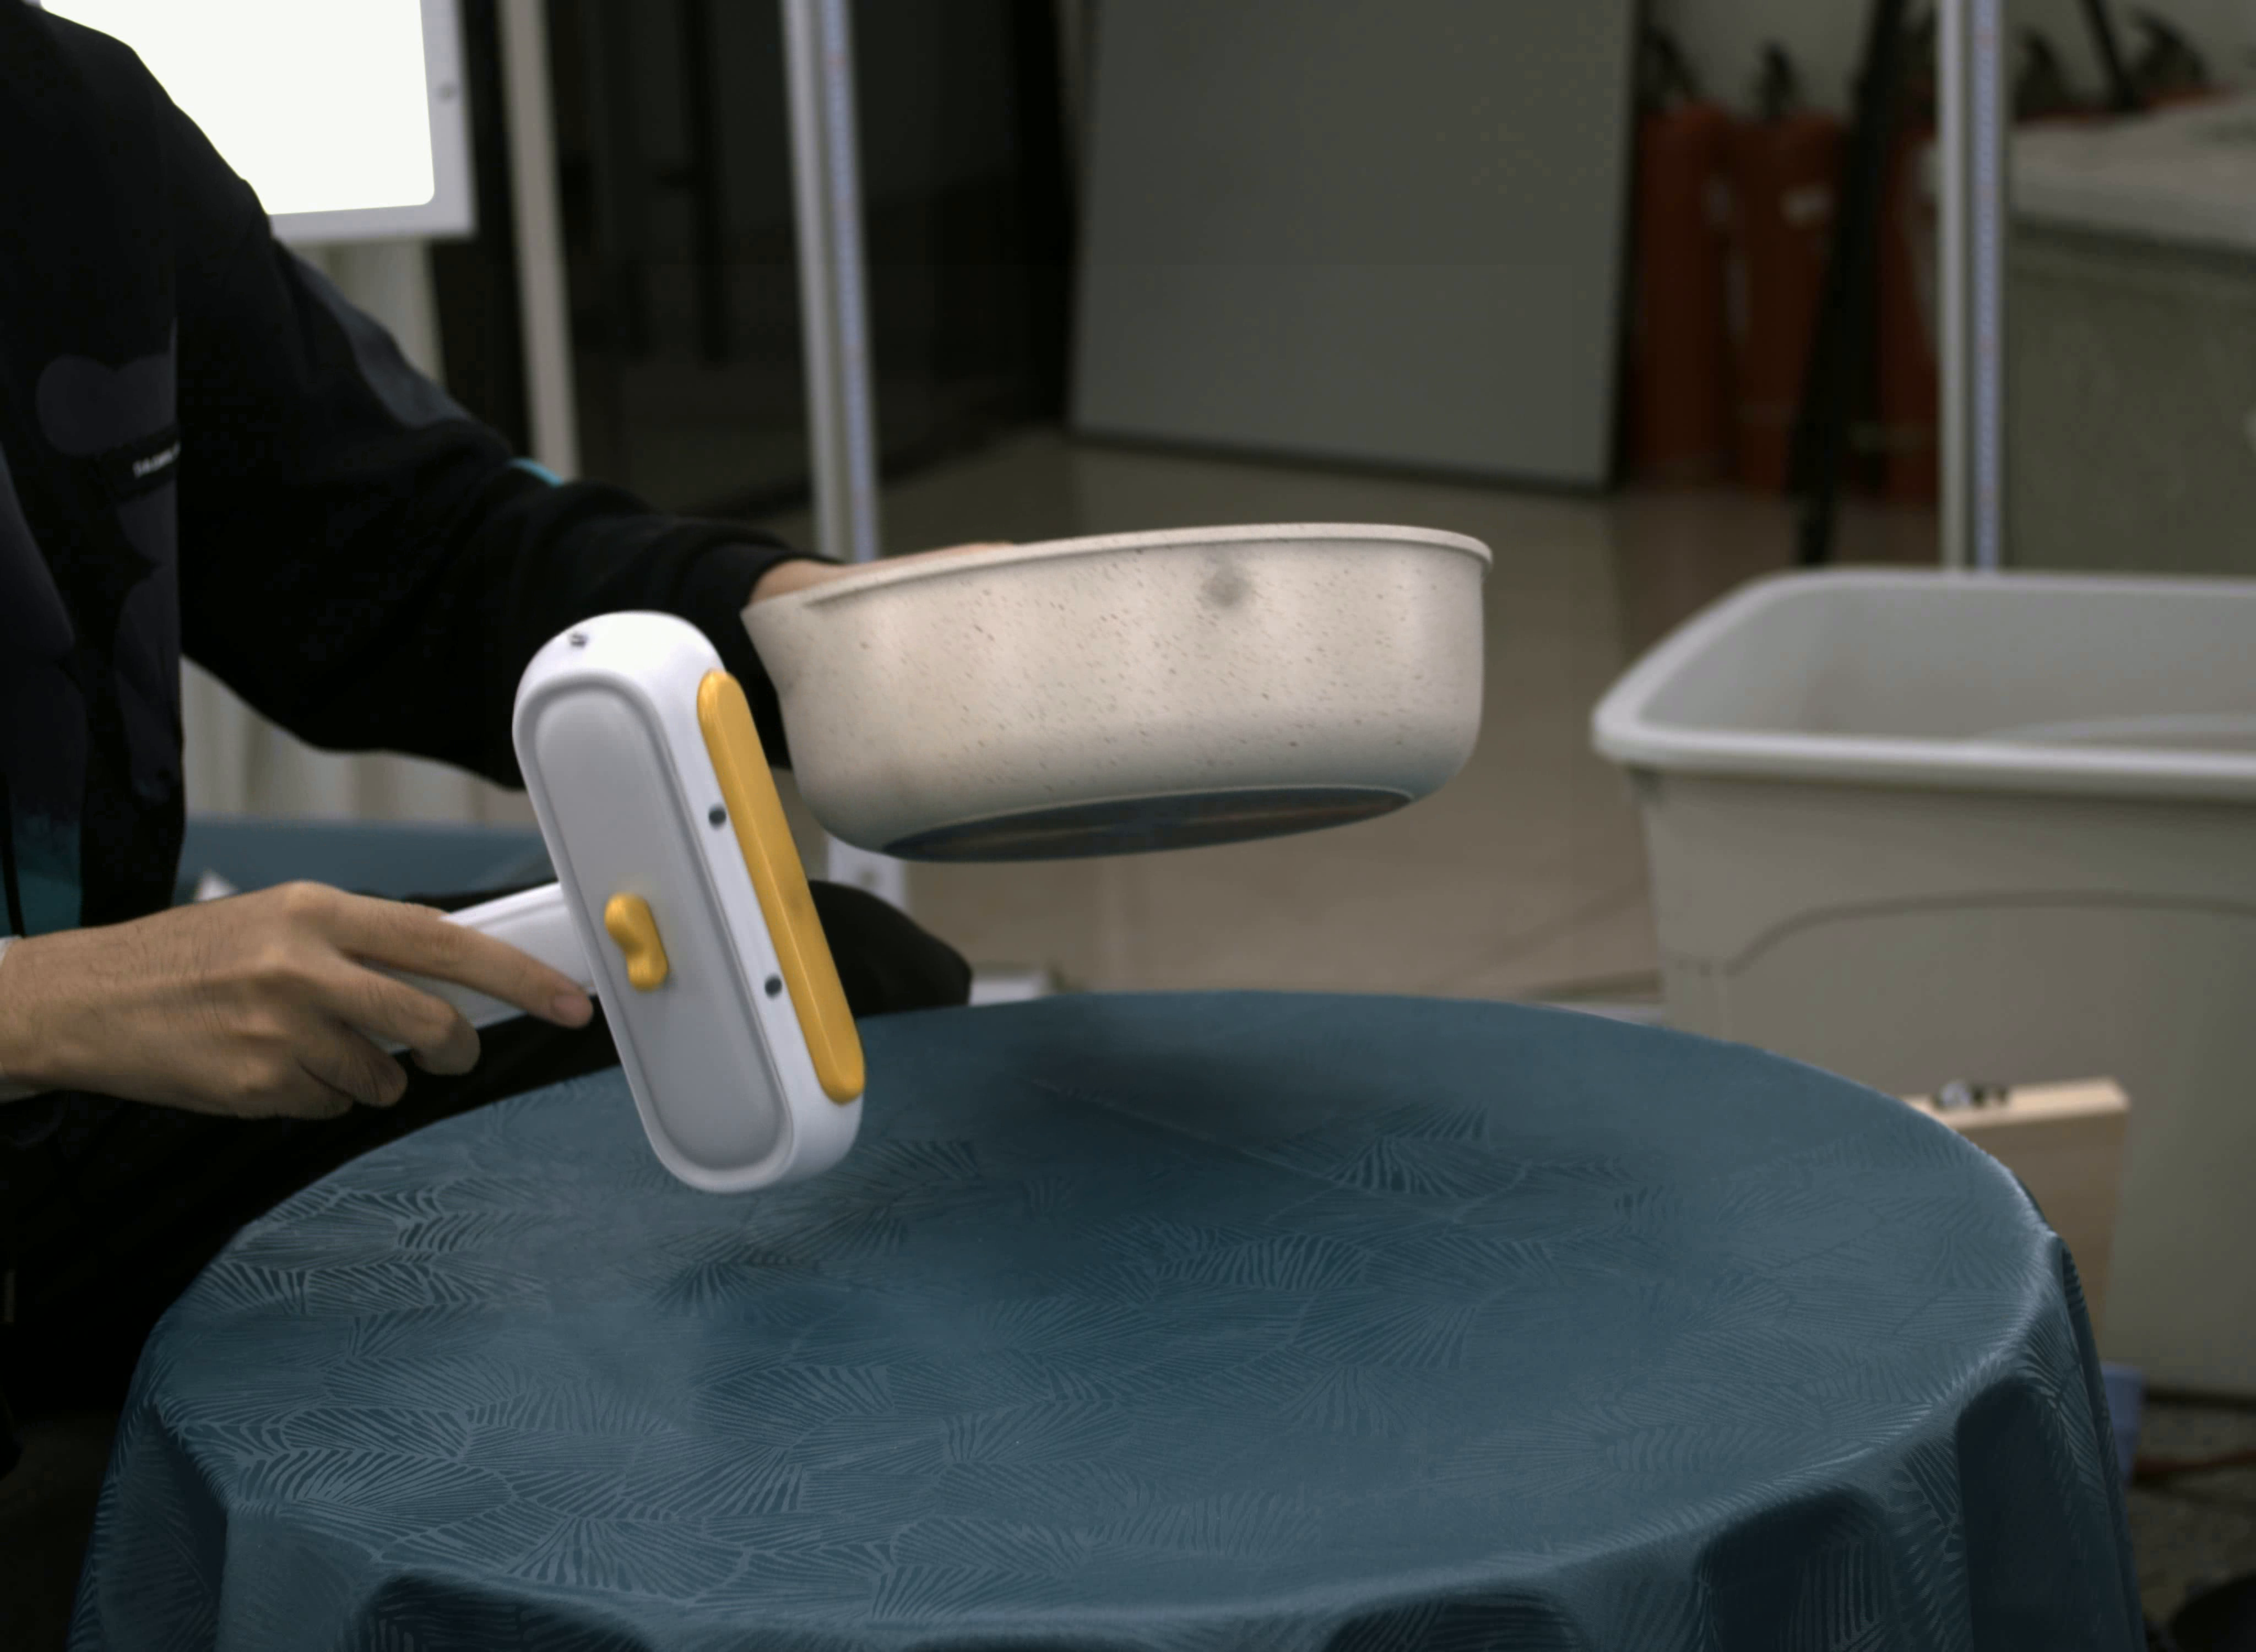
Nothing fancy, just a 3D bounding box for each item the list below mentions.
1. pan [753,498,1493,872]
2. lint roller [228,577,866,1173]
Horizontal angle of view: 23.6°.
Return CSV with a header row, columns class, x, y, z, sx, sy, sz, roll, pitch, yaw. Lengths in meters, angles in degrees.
class,x,y,z,sx,sy,sz,roll,pitch,yaw
pan,-0.022,-0.036,1.910,0.258,0.103,0.438,-5,-7,-17
lint roller,-0.194,0.037,1.718,0.192,0.194,0.074,-19,12,20
